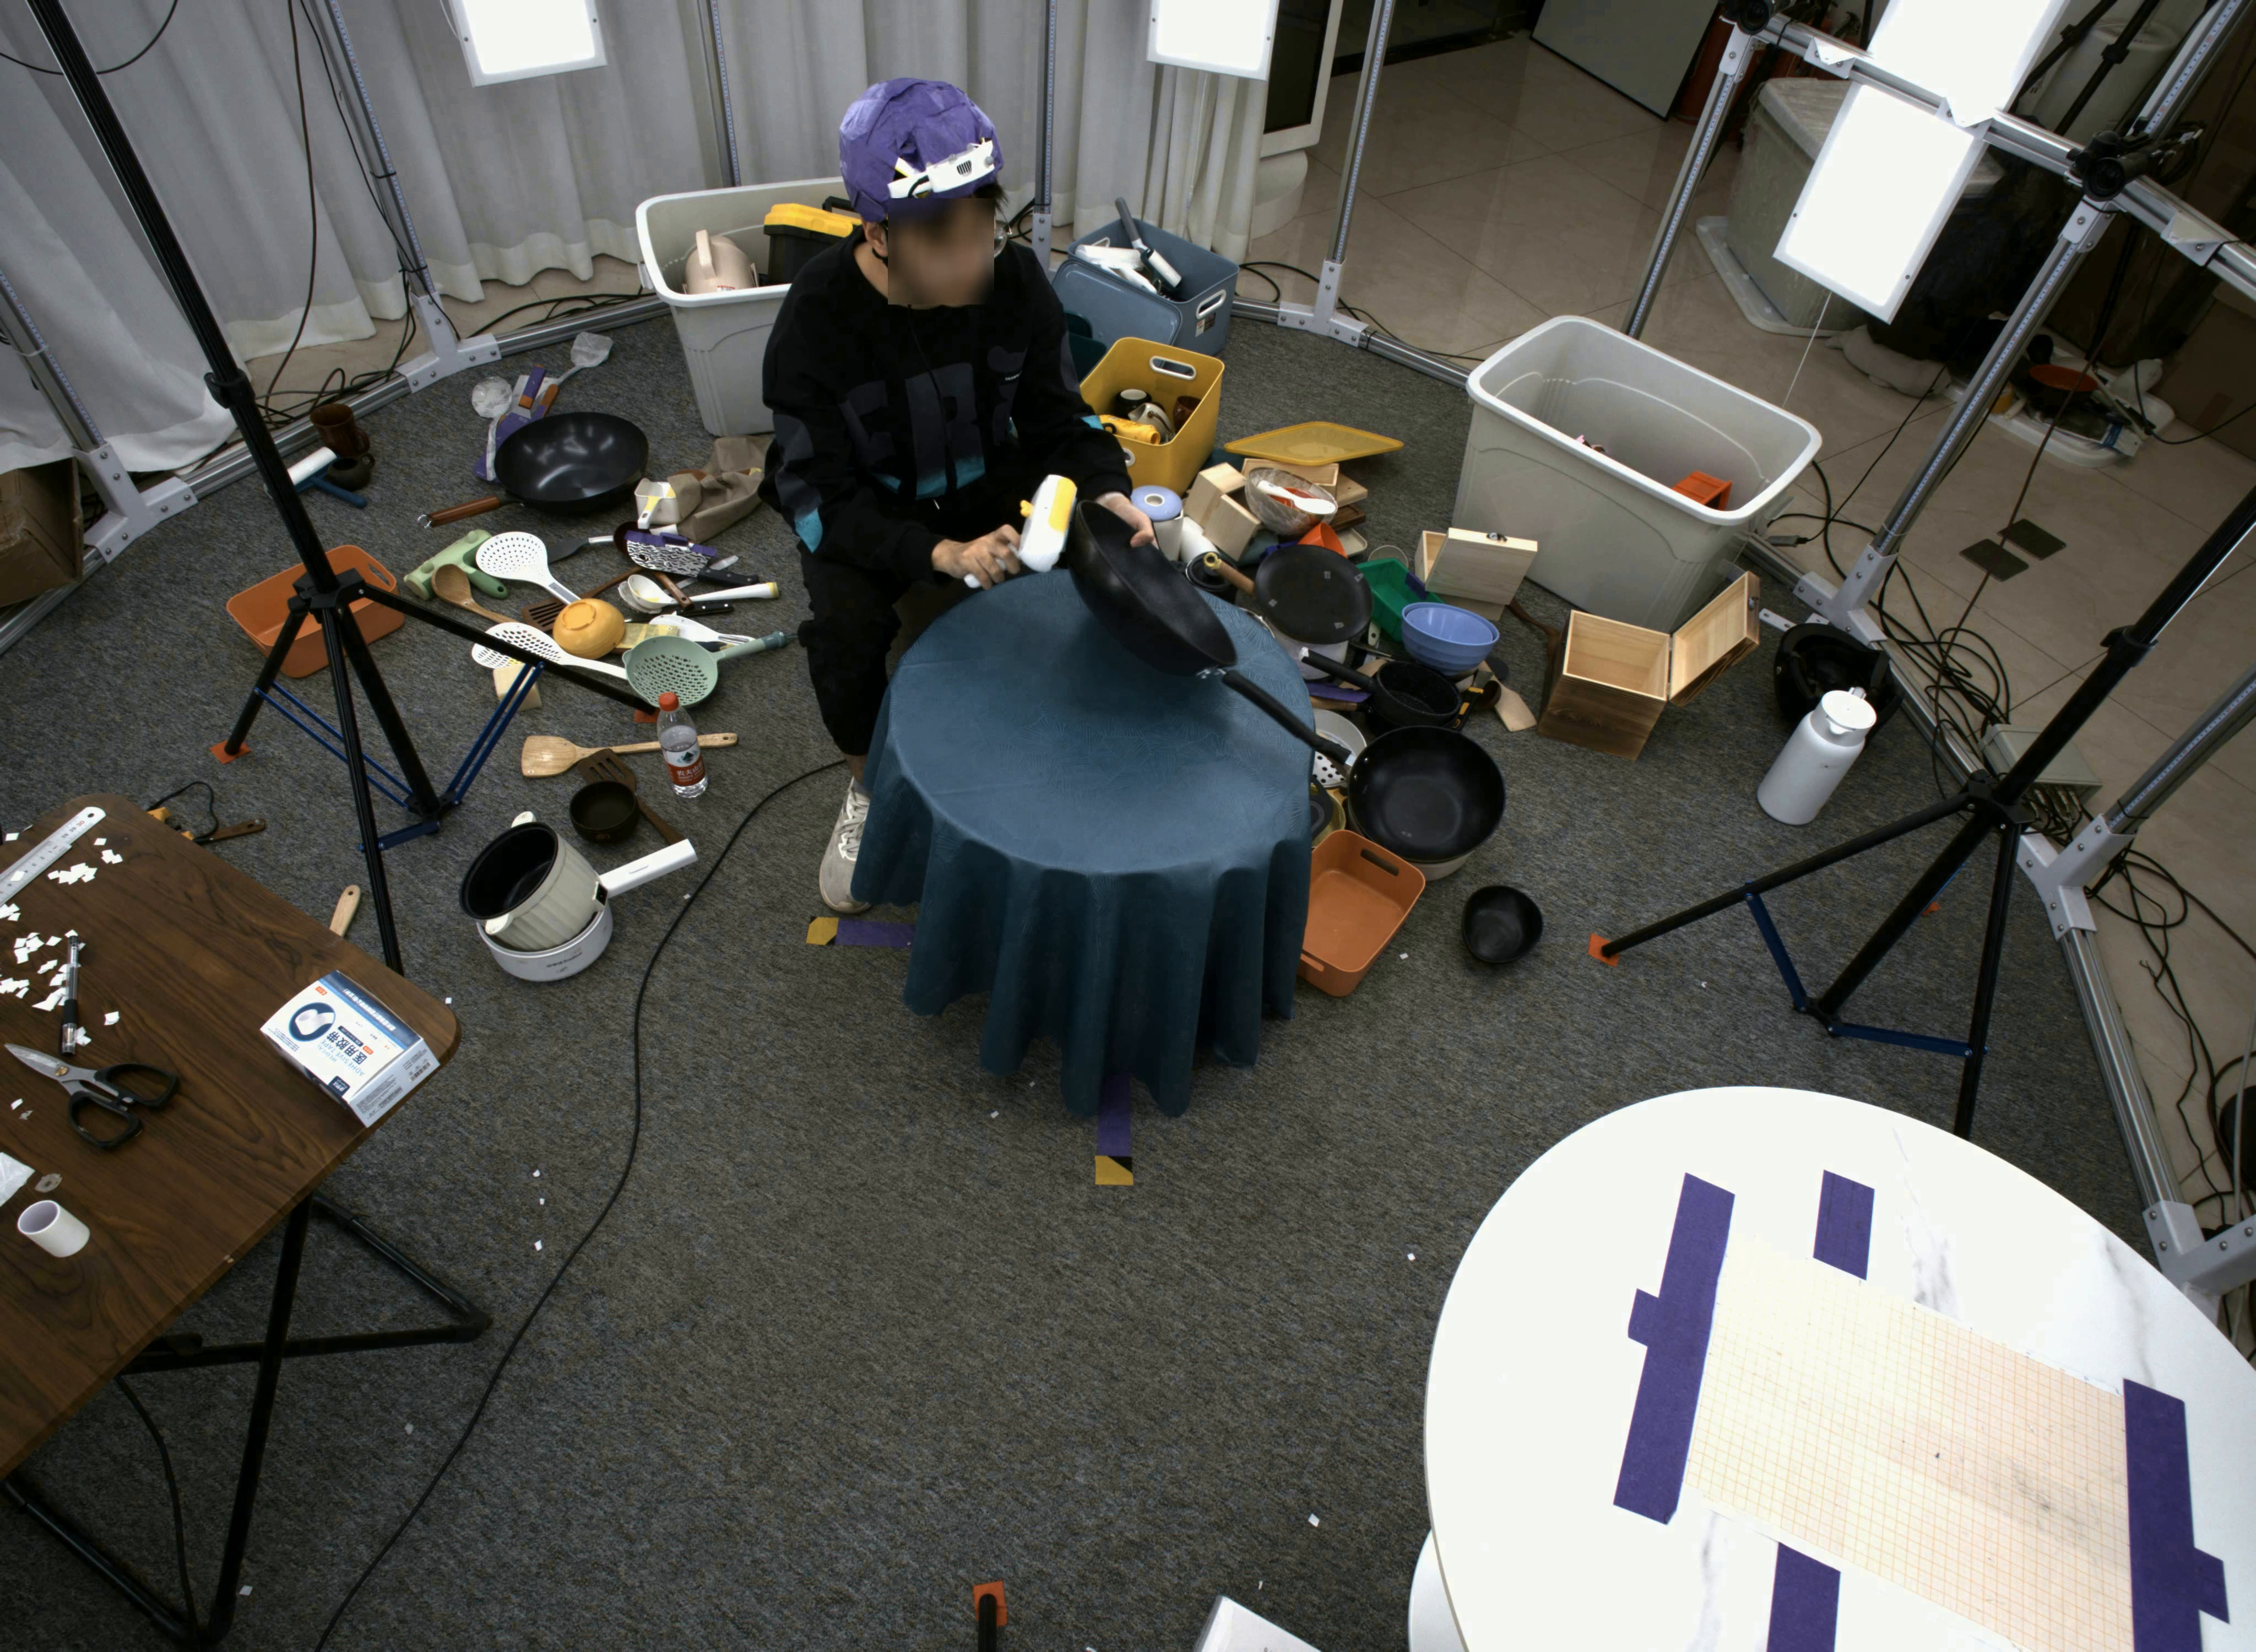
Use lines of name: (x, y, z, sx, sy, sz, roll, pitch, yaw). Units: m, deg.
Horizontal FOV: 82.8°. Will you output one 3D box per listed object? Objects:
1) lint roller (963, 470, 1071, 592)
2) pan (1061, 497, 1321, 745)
lint roller: (-0.152, -0.389, 1.787, 0.073, 0.190, 0.197, 31, 32, -24)
pan: (0.072, -0.260, 1.769, 0.481, 0.110, 0.310, 51, 22, 12)
